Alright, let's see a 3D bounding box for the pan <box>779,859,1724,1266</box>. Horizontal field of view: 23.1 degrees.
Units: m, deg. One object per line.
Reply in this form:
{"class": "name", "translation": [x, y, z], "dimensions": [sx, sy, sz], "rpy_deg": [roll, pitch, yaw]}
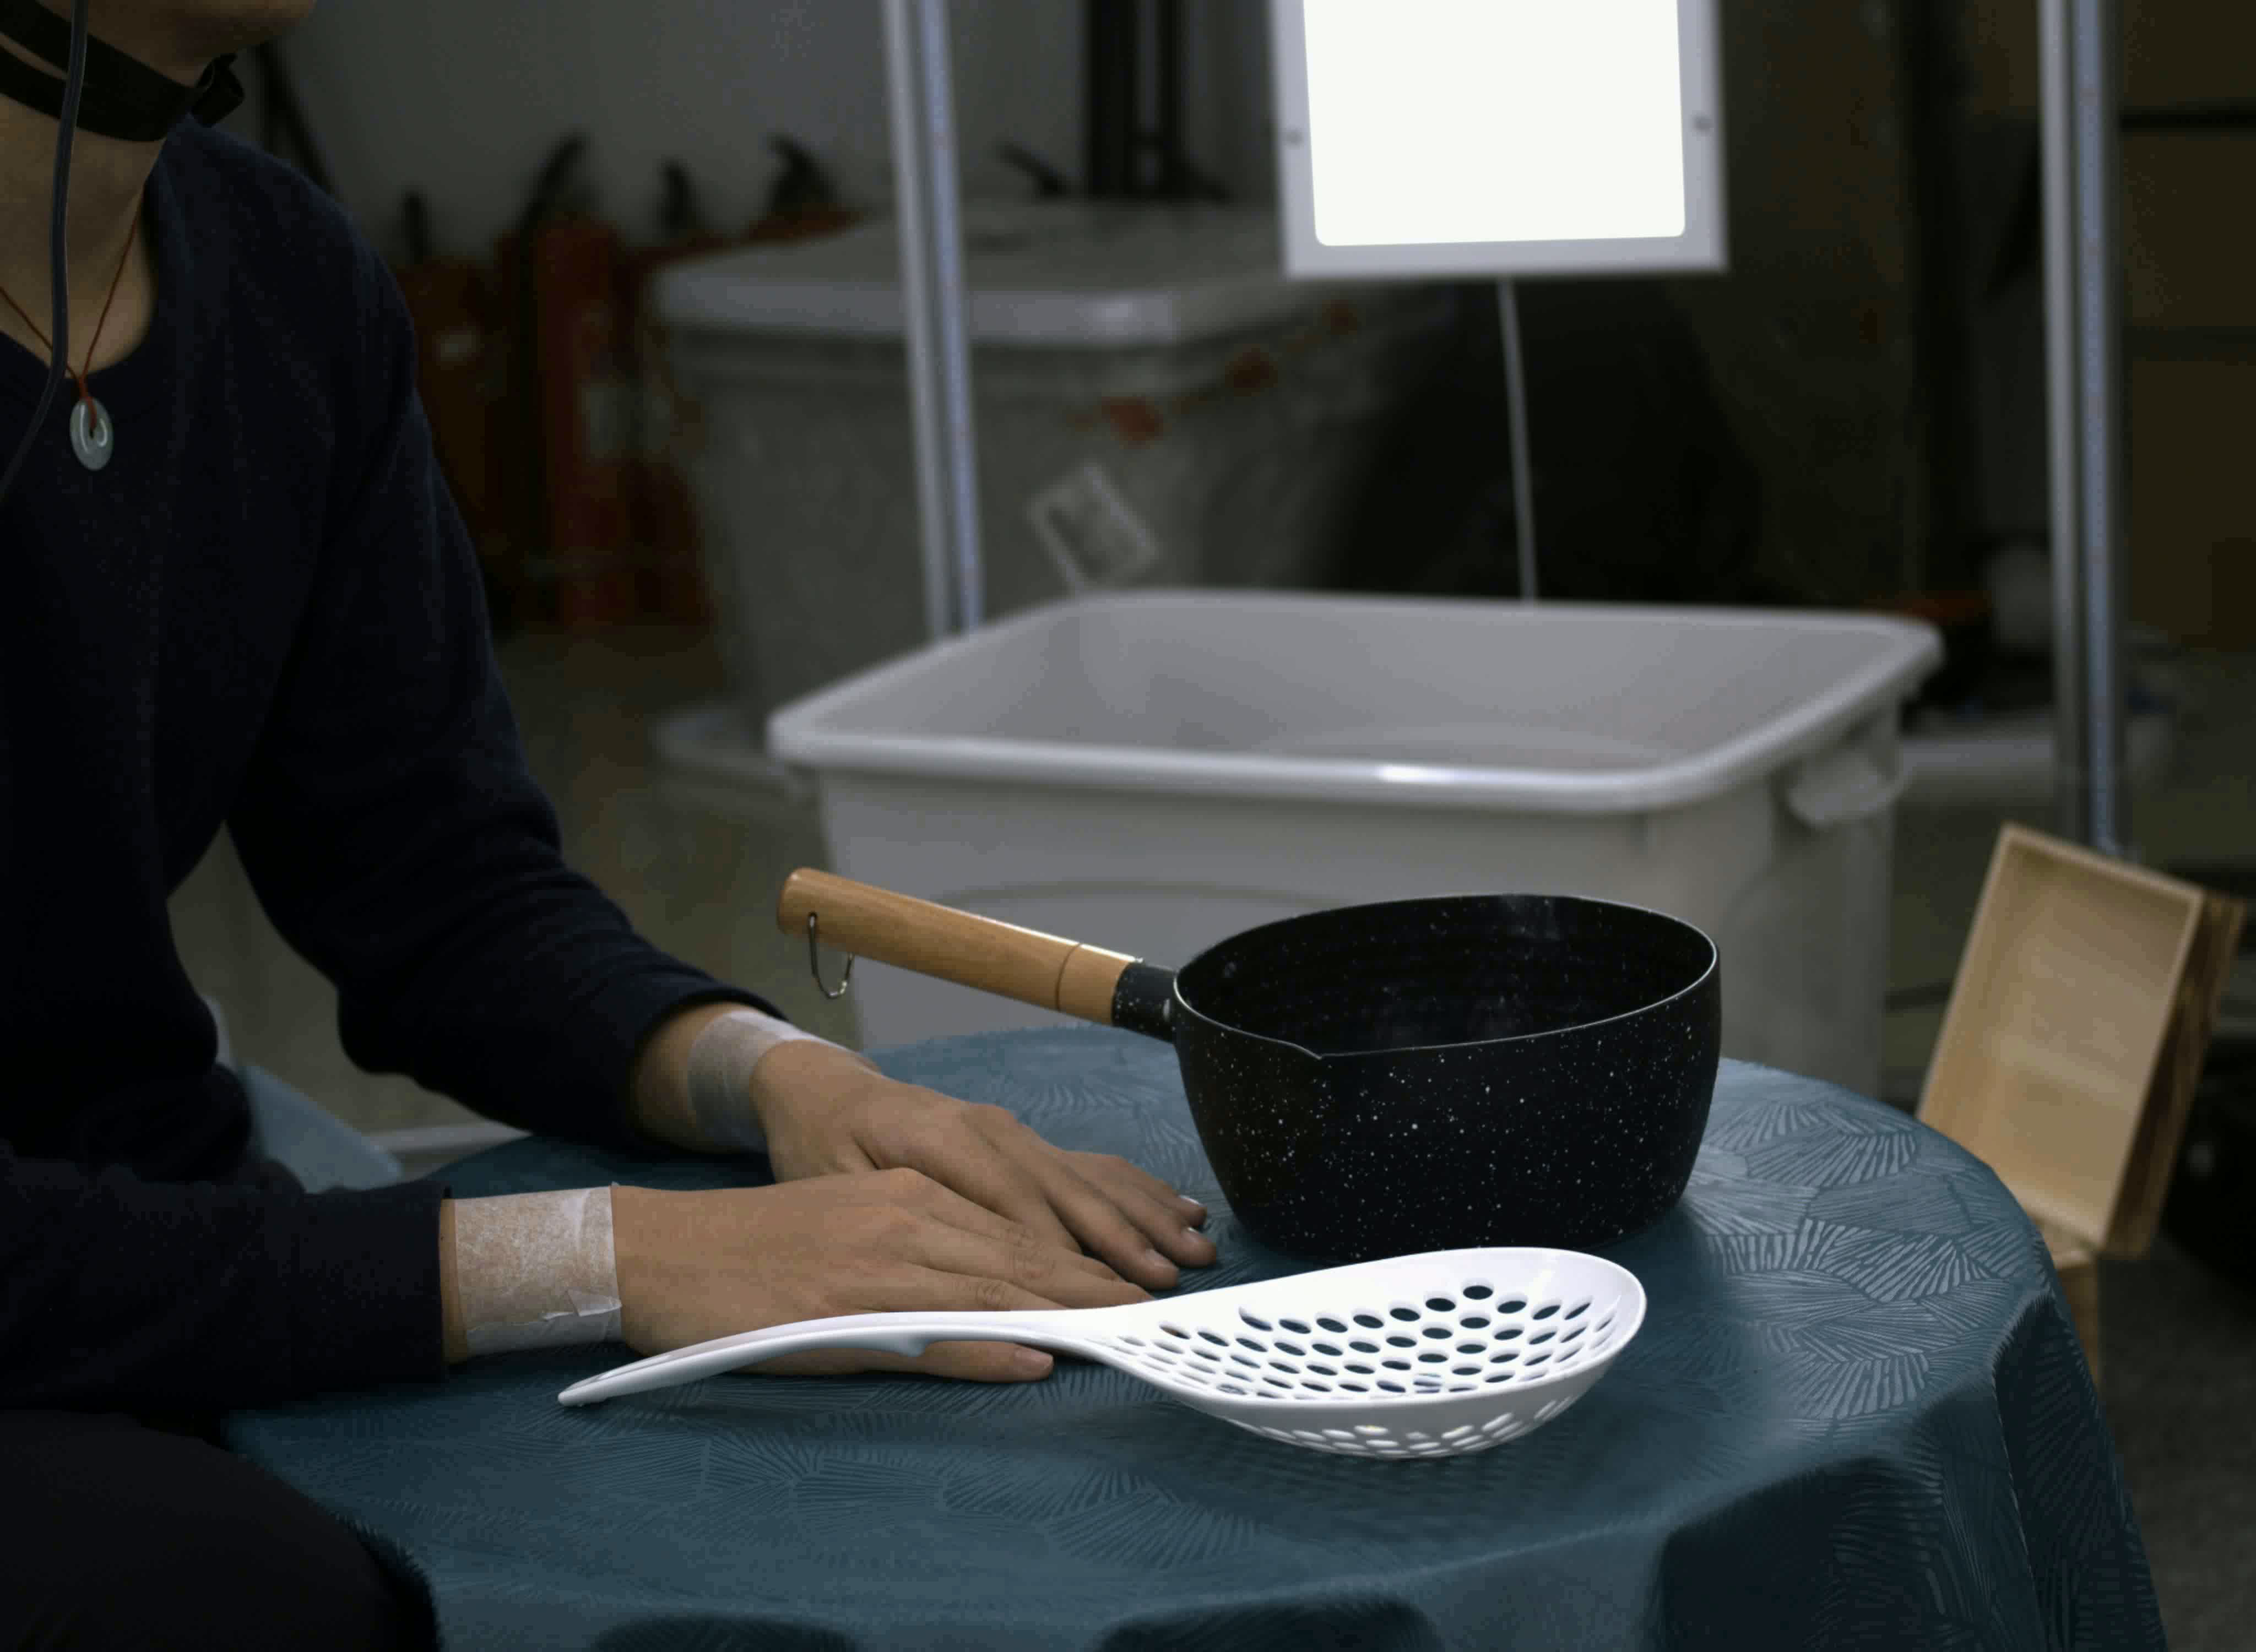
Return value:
{"class": "pan", "translation": [0.036, 0.073, 1.874], "dimensions": [0.348, 0.108, 0.203], "rpy_deg": [3, 17, 25]}

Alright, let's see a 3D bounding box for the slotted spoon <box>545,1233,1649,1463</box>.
{"class": "slotted spoon", "translation": [-0.014, 0.162, 1.668], "dimensions": [0.352, 0.050, 0.134], "rpy_deg": [2, 17, 19]}
